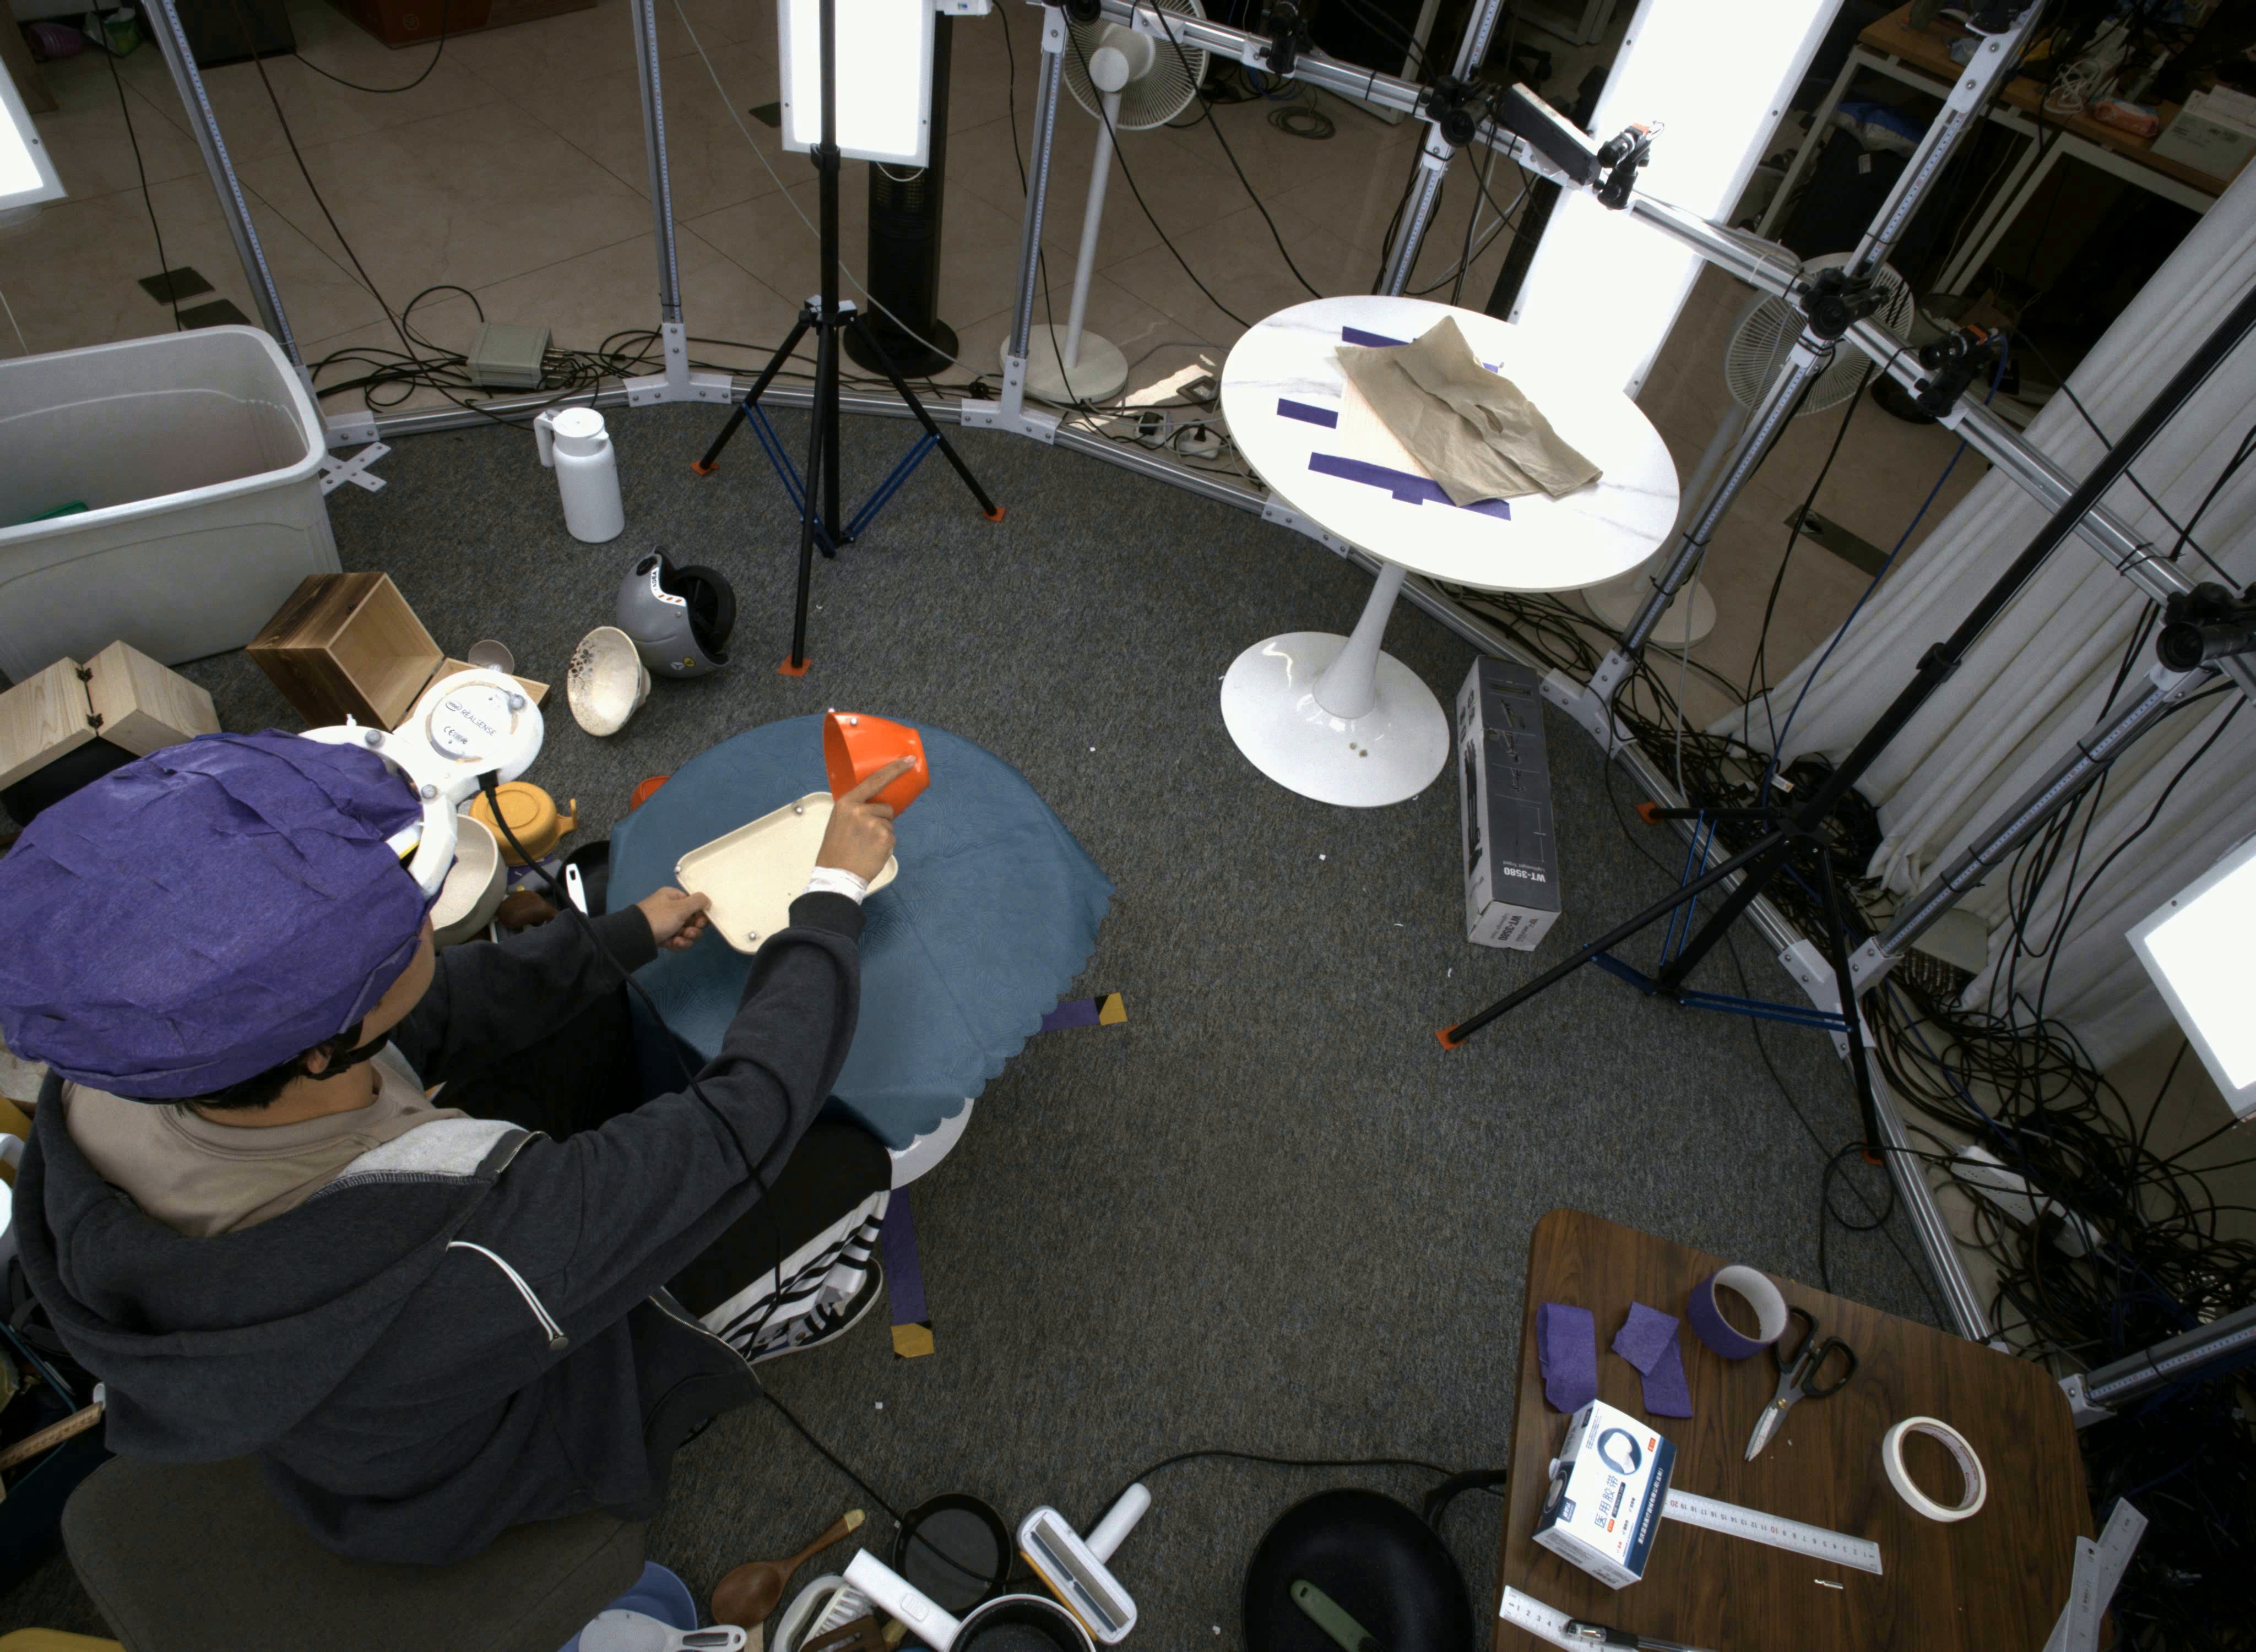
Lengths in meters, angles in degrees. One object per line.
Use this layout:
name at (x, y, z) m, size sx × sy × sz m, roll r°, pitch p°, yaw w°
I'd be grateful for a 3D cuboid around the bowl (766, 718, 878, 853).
bowl at (-0.333, -0.055, 1.420) m, size 0.104 × 0.152 × 0.144 m, roll -18°, pitch 58°, yaw -15°

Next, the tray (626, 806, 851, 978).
tray at (-0.471, 0.076, 1.568) m, size 0.168 × 0.018 × 0.240 m, roll 43°, pitch 51°, yaw 16°
